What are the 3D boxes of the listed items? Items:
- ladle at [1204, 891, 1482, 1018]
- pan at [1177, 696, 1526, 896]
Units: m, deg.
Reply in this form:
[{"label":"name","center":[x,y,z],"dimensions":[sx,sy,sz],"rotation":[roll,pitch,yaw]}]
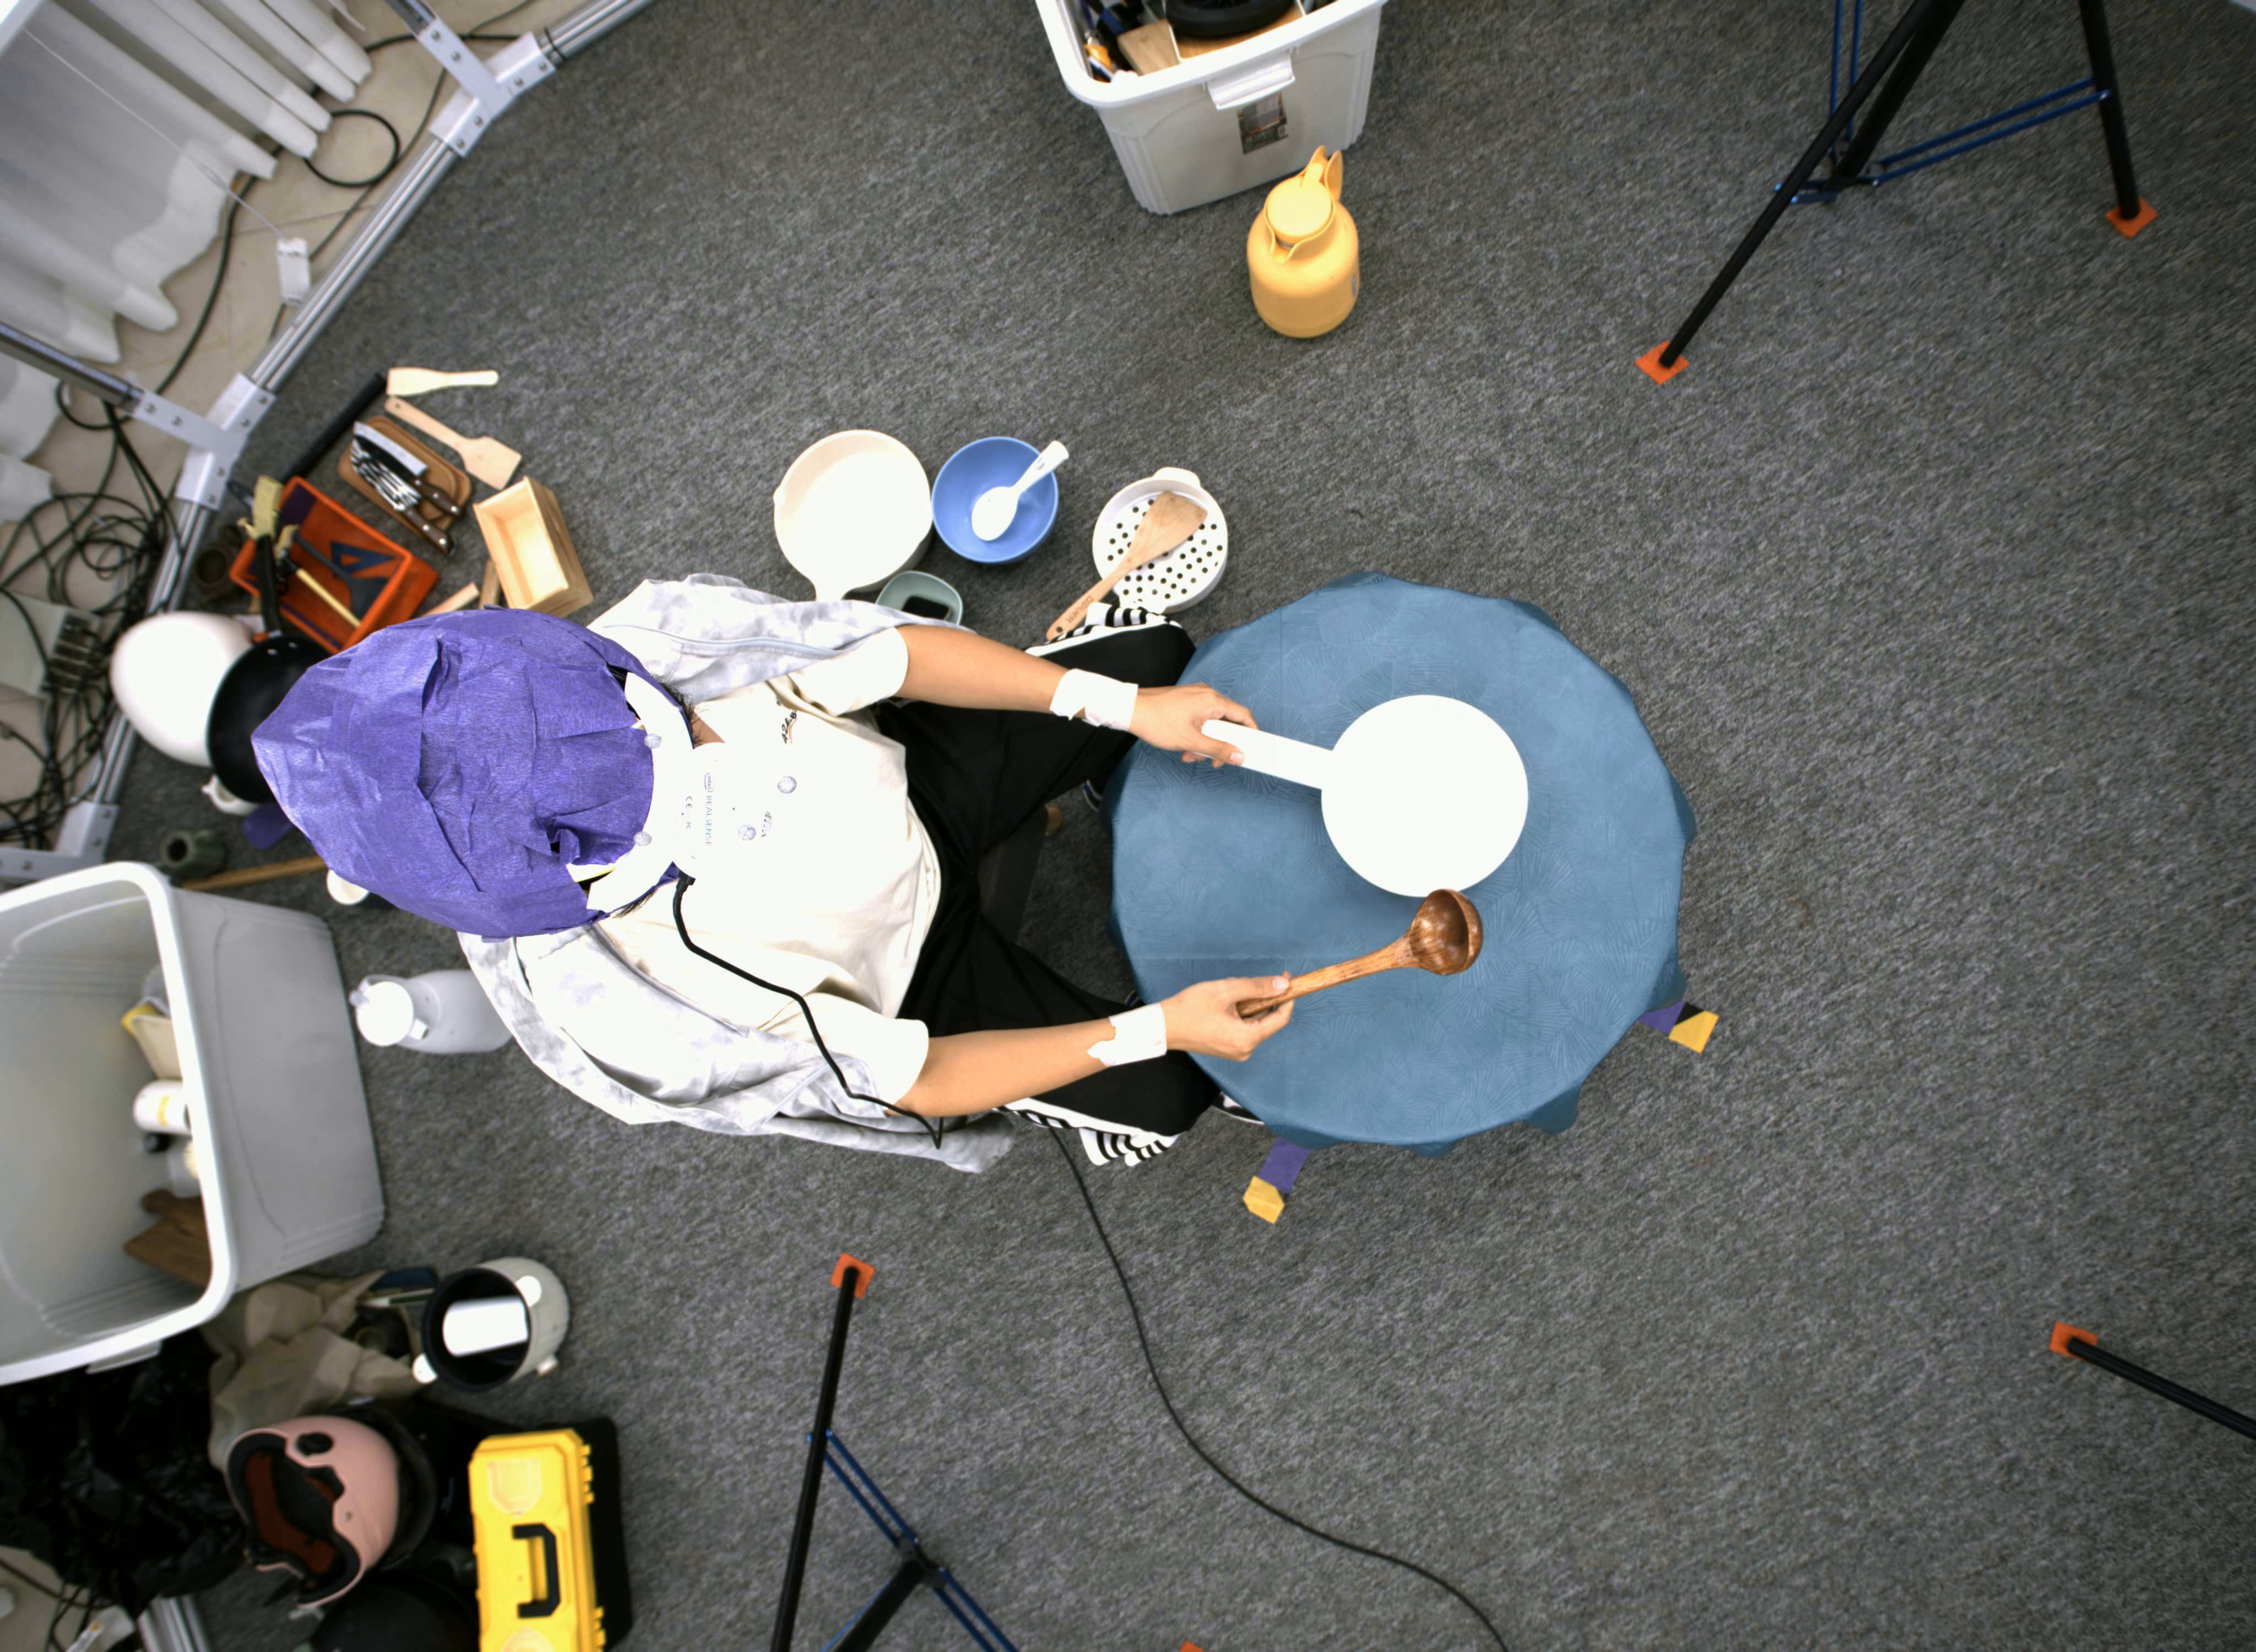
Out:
[{"label":"ladle","center":[0.197,0.130,1.300],"dimensions":[0.276,0.078,0.080],"rotation":[-16,61,11]},{"label":"pan","center":[0.227,-0.049,1.423],"dimensions":[0.355,0.102,0.201],"rotation":[17,91,12]}]
